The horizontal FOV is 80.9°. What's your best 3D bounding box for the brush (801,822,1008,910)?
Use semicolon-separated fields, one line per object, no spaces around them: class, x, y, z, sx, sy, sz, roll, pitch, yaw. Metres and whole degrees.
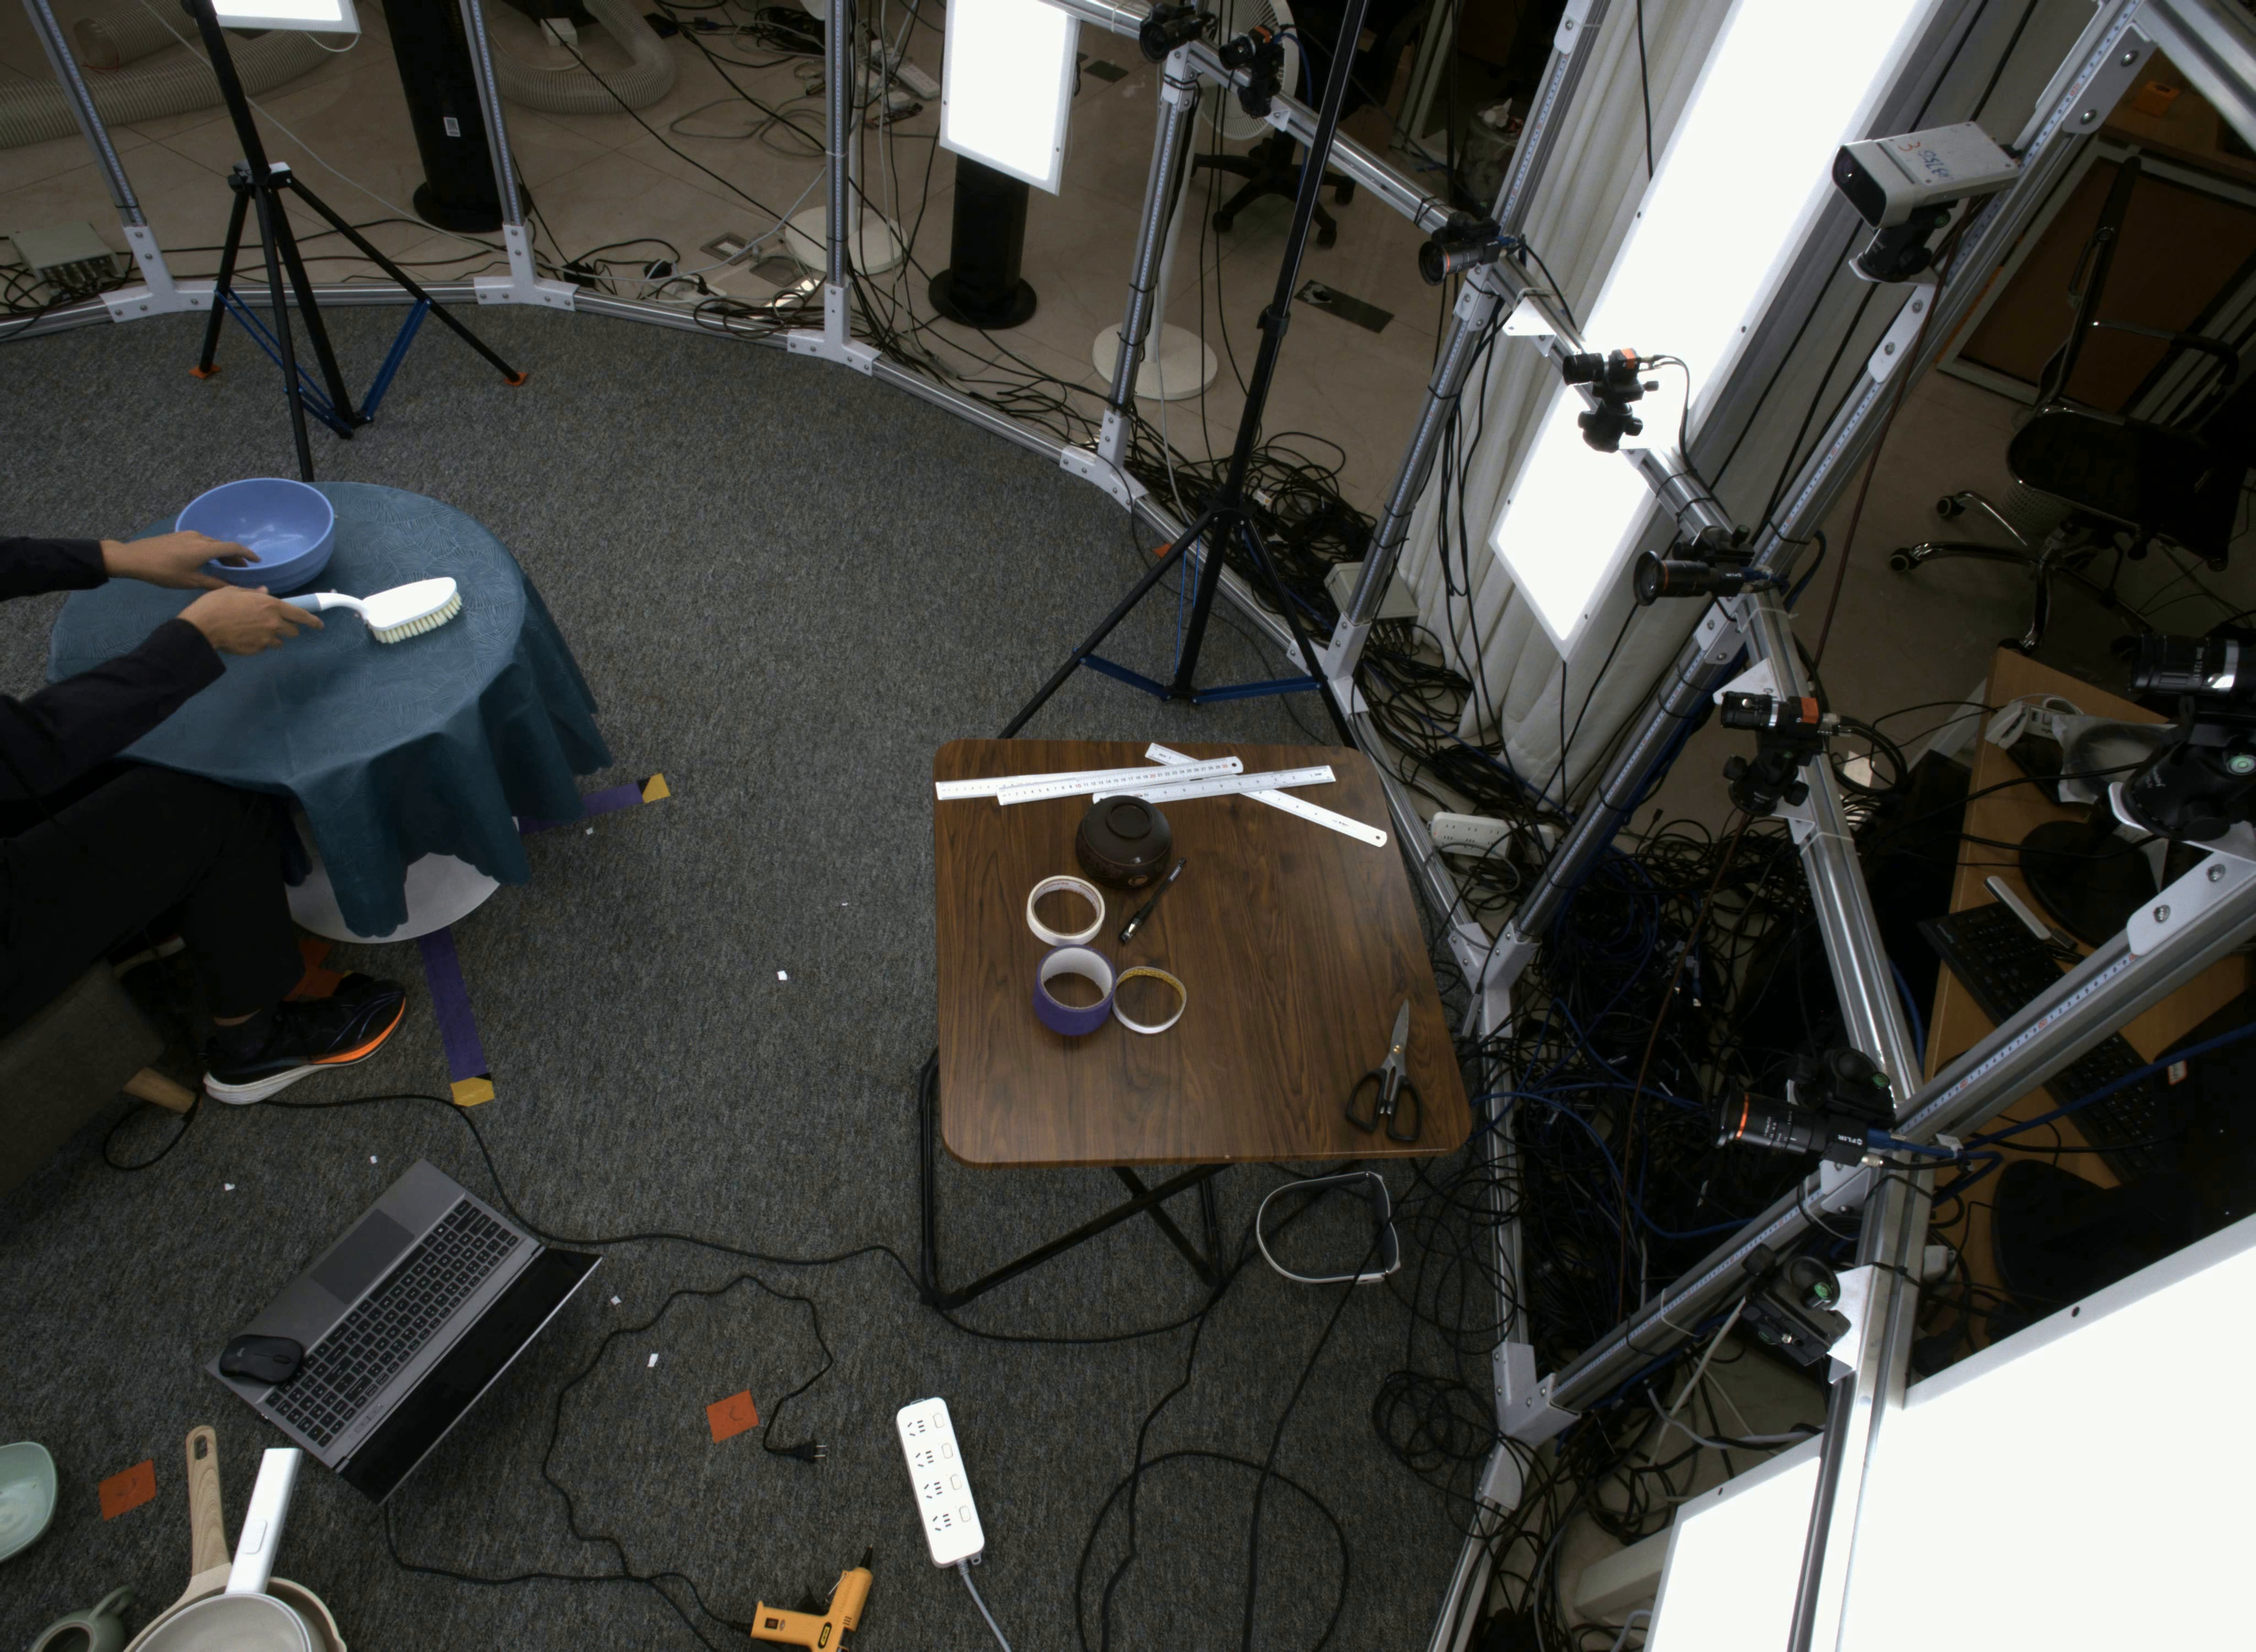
brush;-0.342;0.072;1.984;0.327;0.084;0.082;14;-15;-15

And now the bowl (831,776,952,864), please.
bowl;-0.387;-0.001;2.134;0.194;0.098;0.193;6;24;-1
